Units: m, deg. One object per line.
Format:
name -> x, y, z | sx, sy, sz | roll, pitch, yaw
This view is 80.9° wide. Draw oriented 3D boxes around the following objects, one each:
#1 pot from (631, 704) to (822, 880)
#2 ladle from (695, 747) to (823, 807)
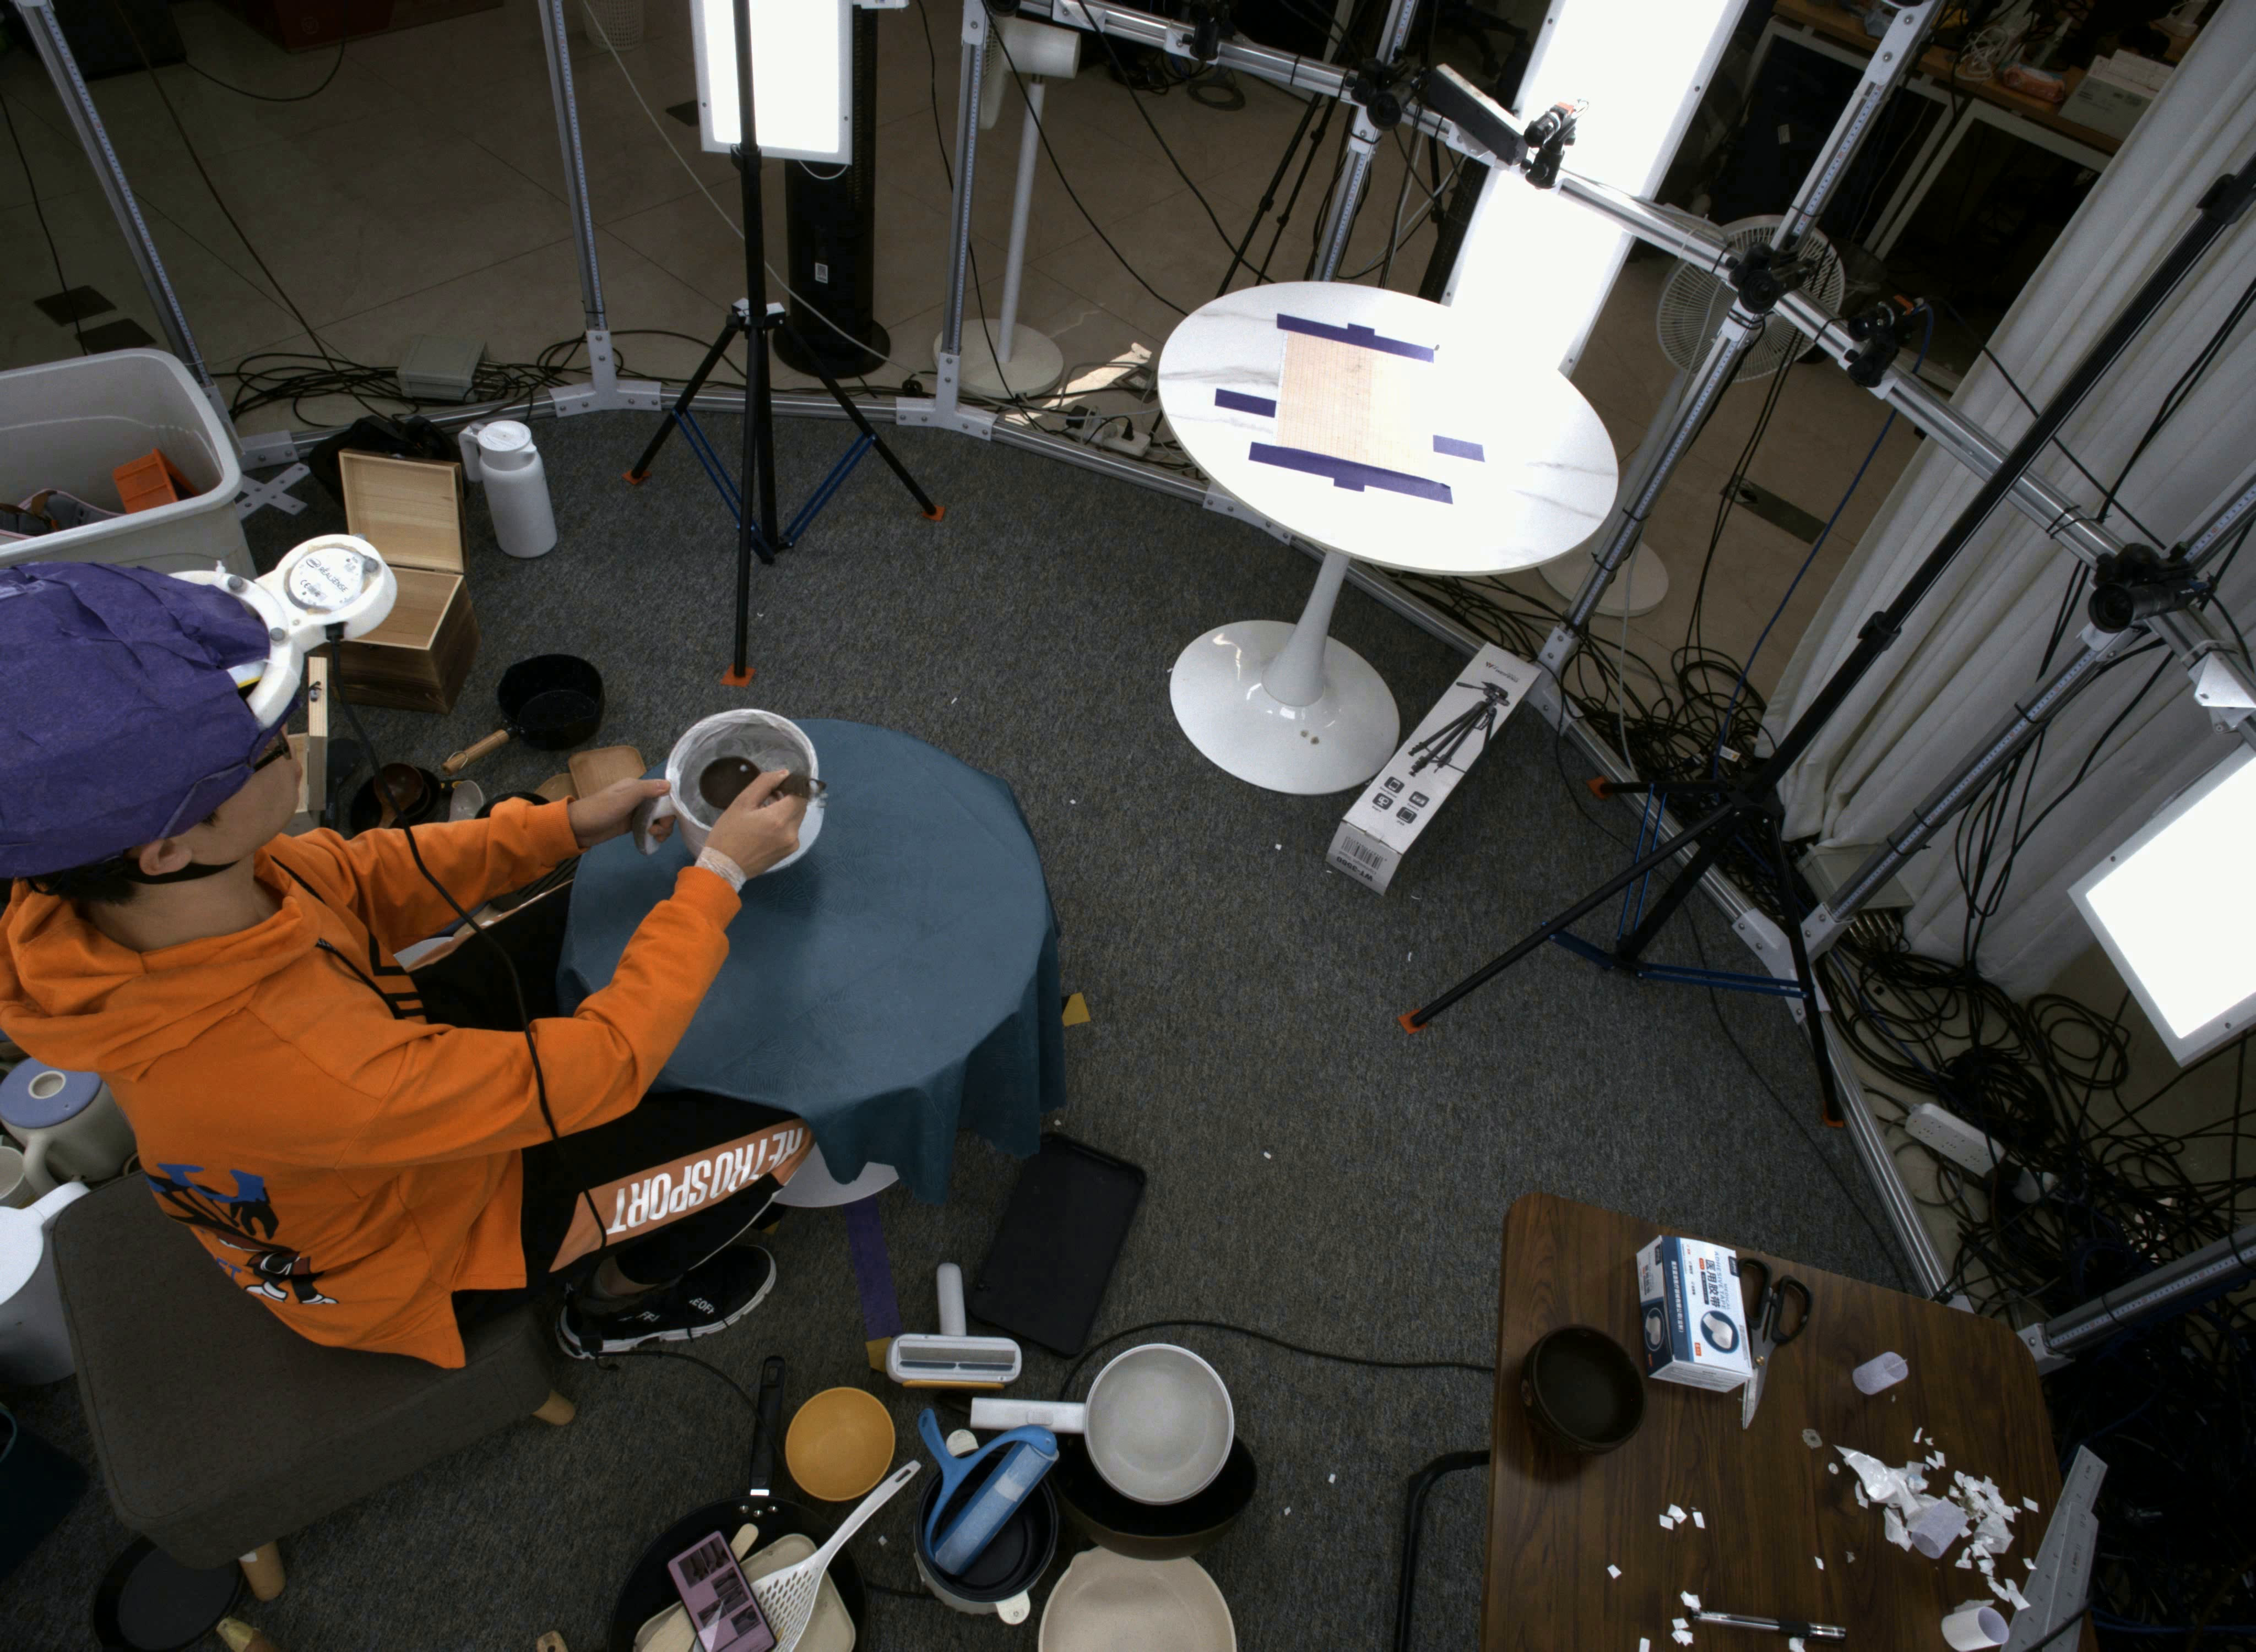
pot -> -0.488, -0.029, 1.556 | 0.234, 0.139, 0.175 | -17, 65, -19
ladle -> -0.418, -0.063, 1.446 | 0.073, 0.266, 0.076 | 45, 65, -23
